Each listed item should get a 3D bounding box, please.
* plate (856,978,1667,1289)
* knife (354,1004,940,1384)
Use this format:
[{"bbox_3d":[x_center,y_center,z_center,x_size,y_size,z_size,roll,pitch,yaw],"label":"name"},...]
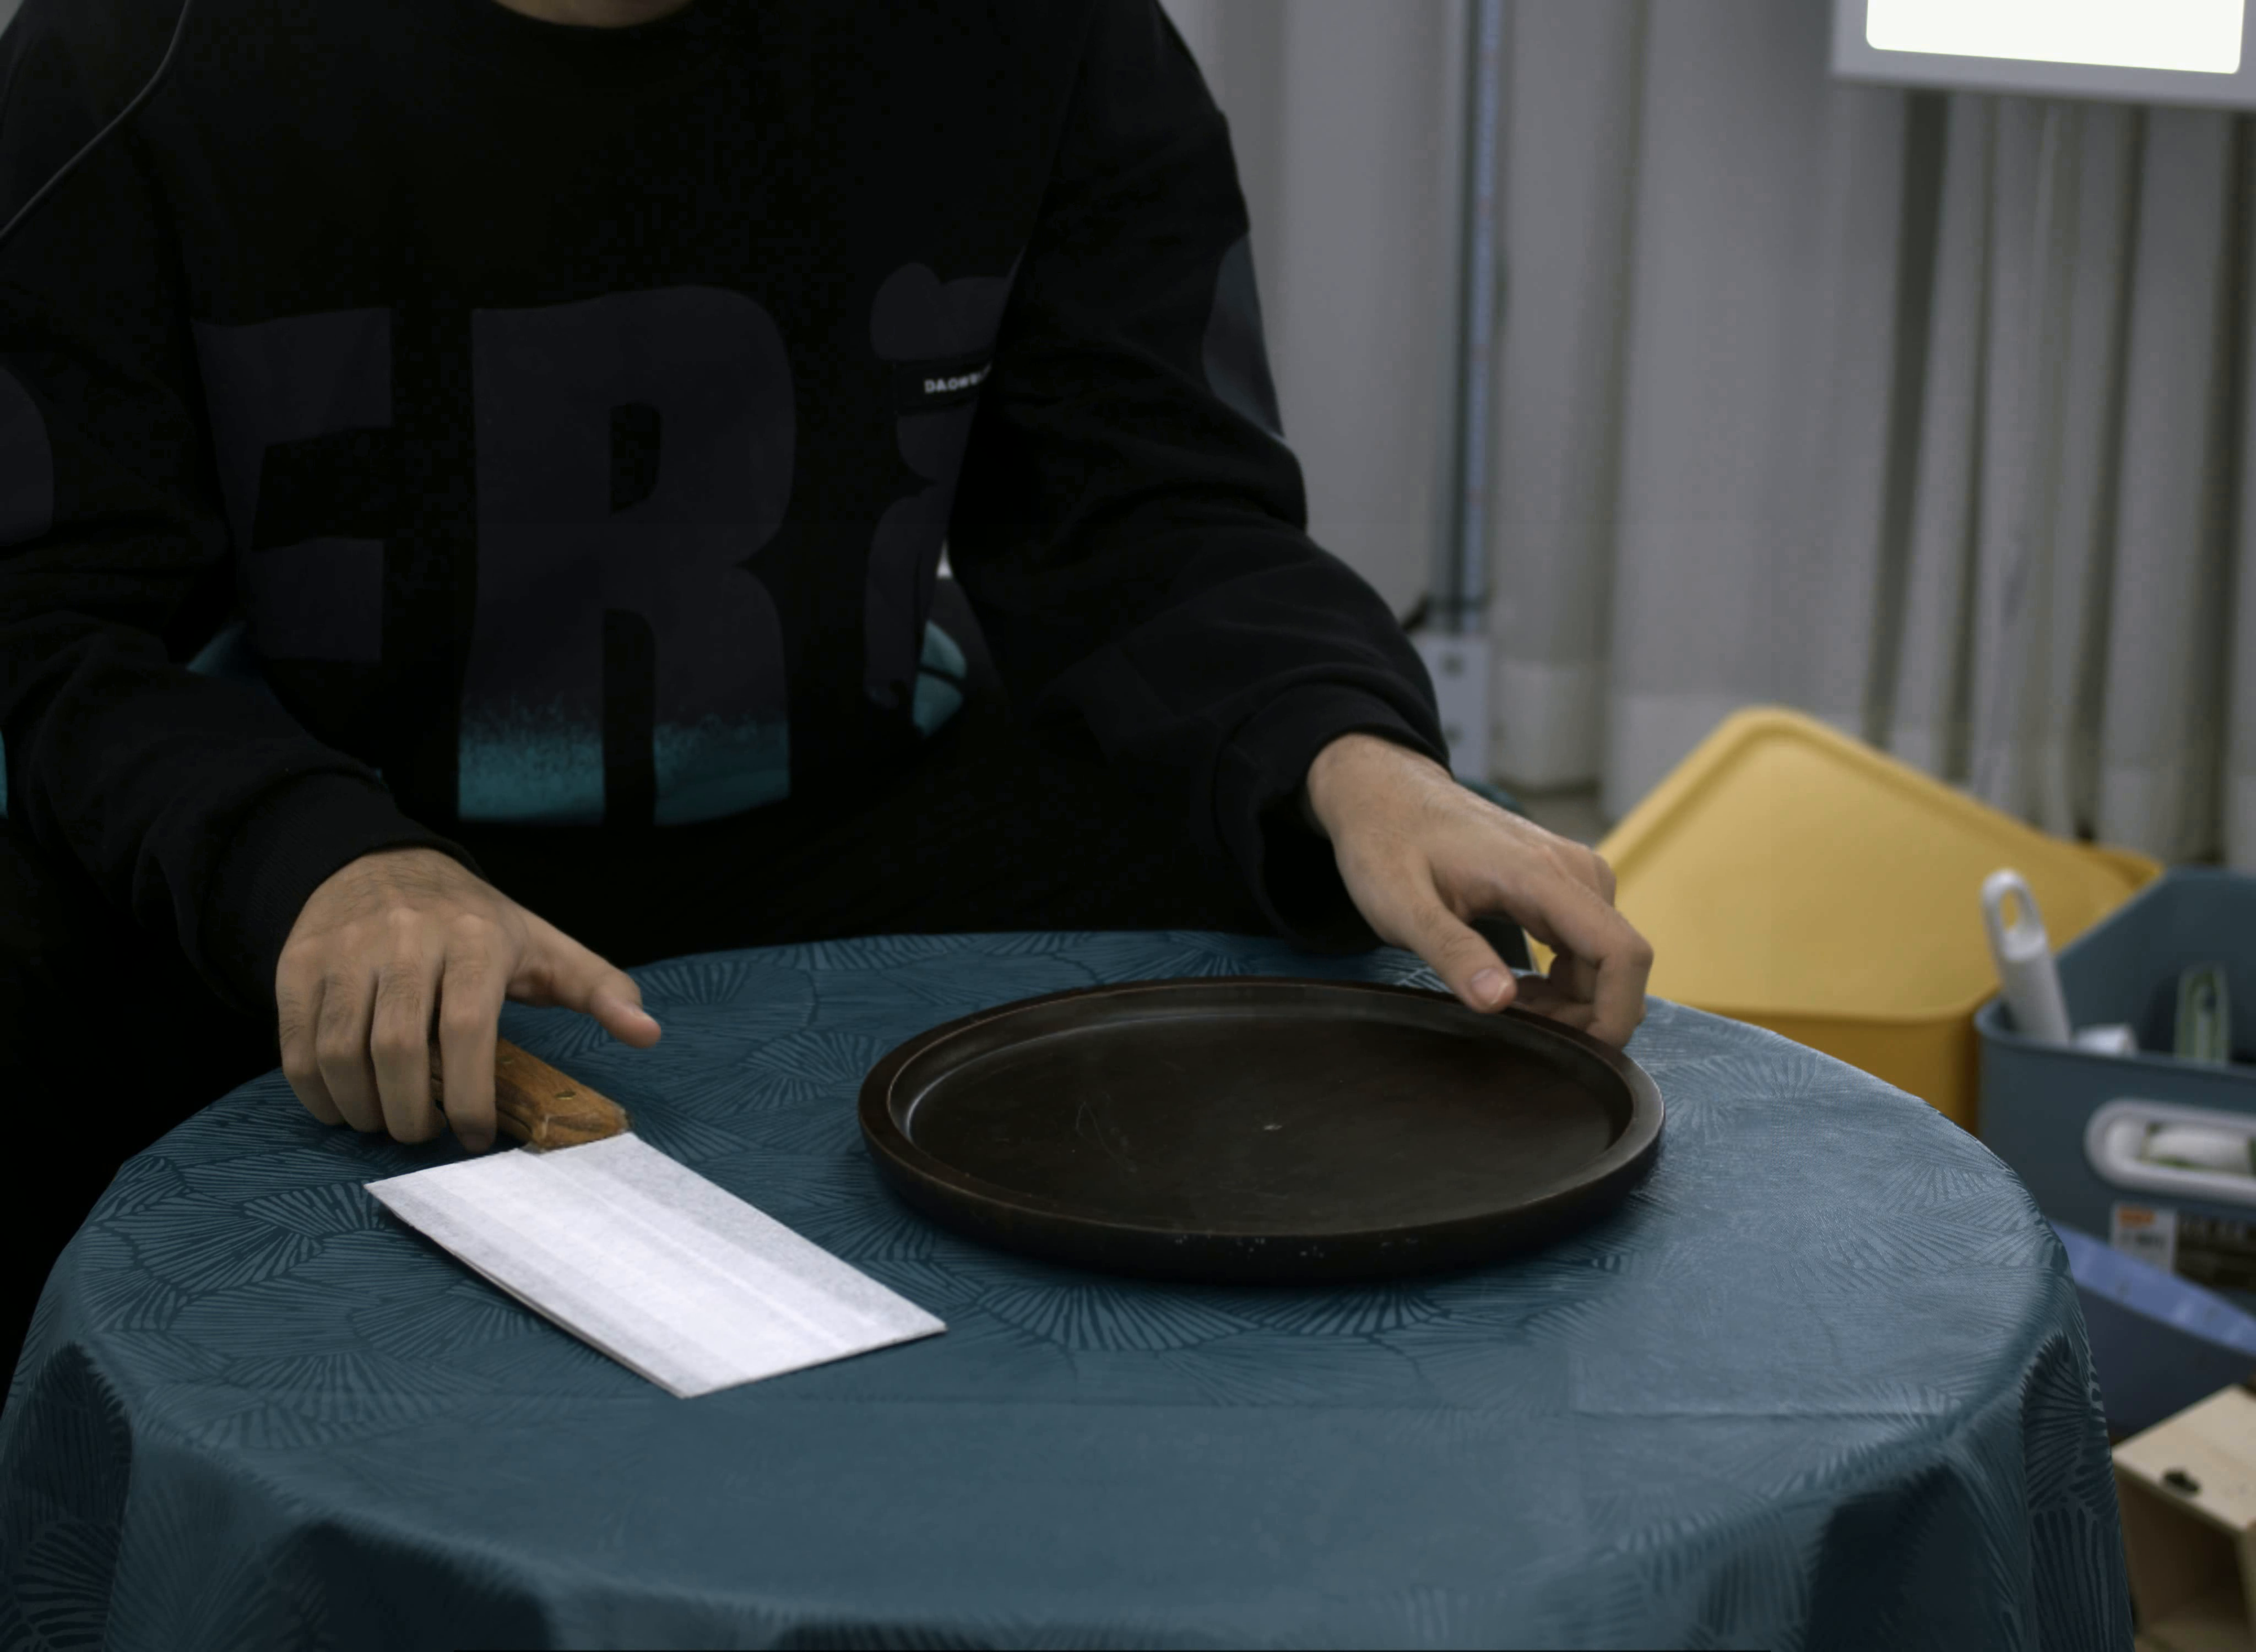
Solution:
[{"bbox_3d":[0.041,0.093,1.645,0.254,0.029,0.253,0,17,1],"label":"plate"},{"bbox_3d":[-0.173,0.111,1.594,0.093,0.021,0.301,-12,22,-34],"label":"knife"}]
